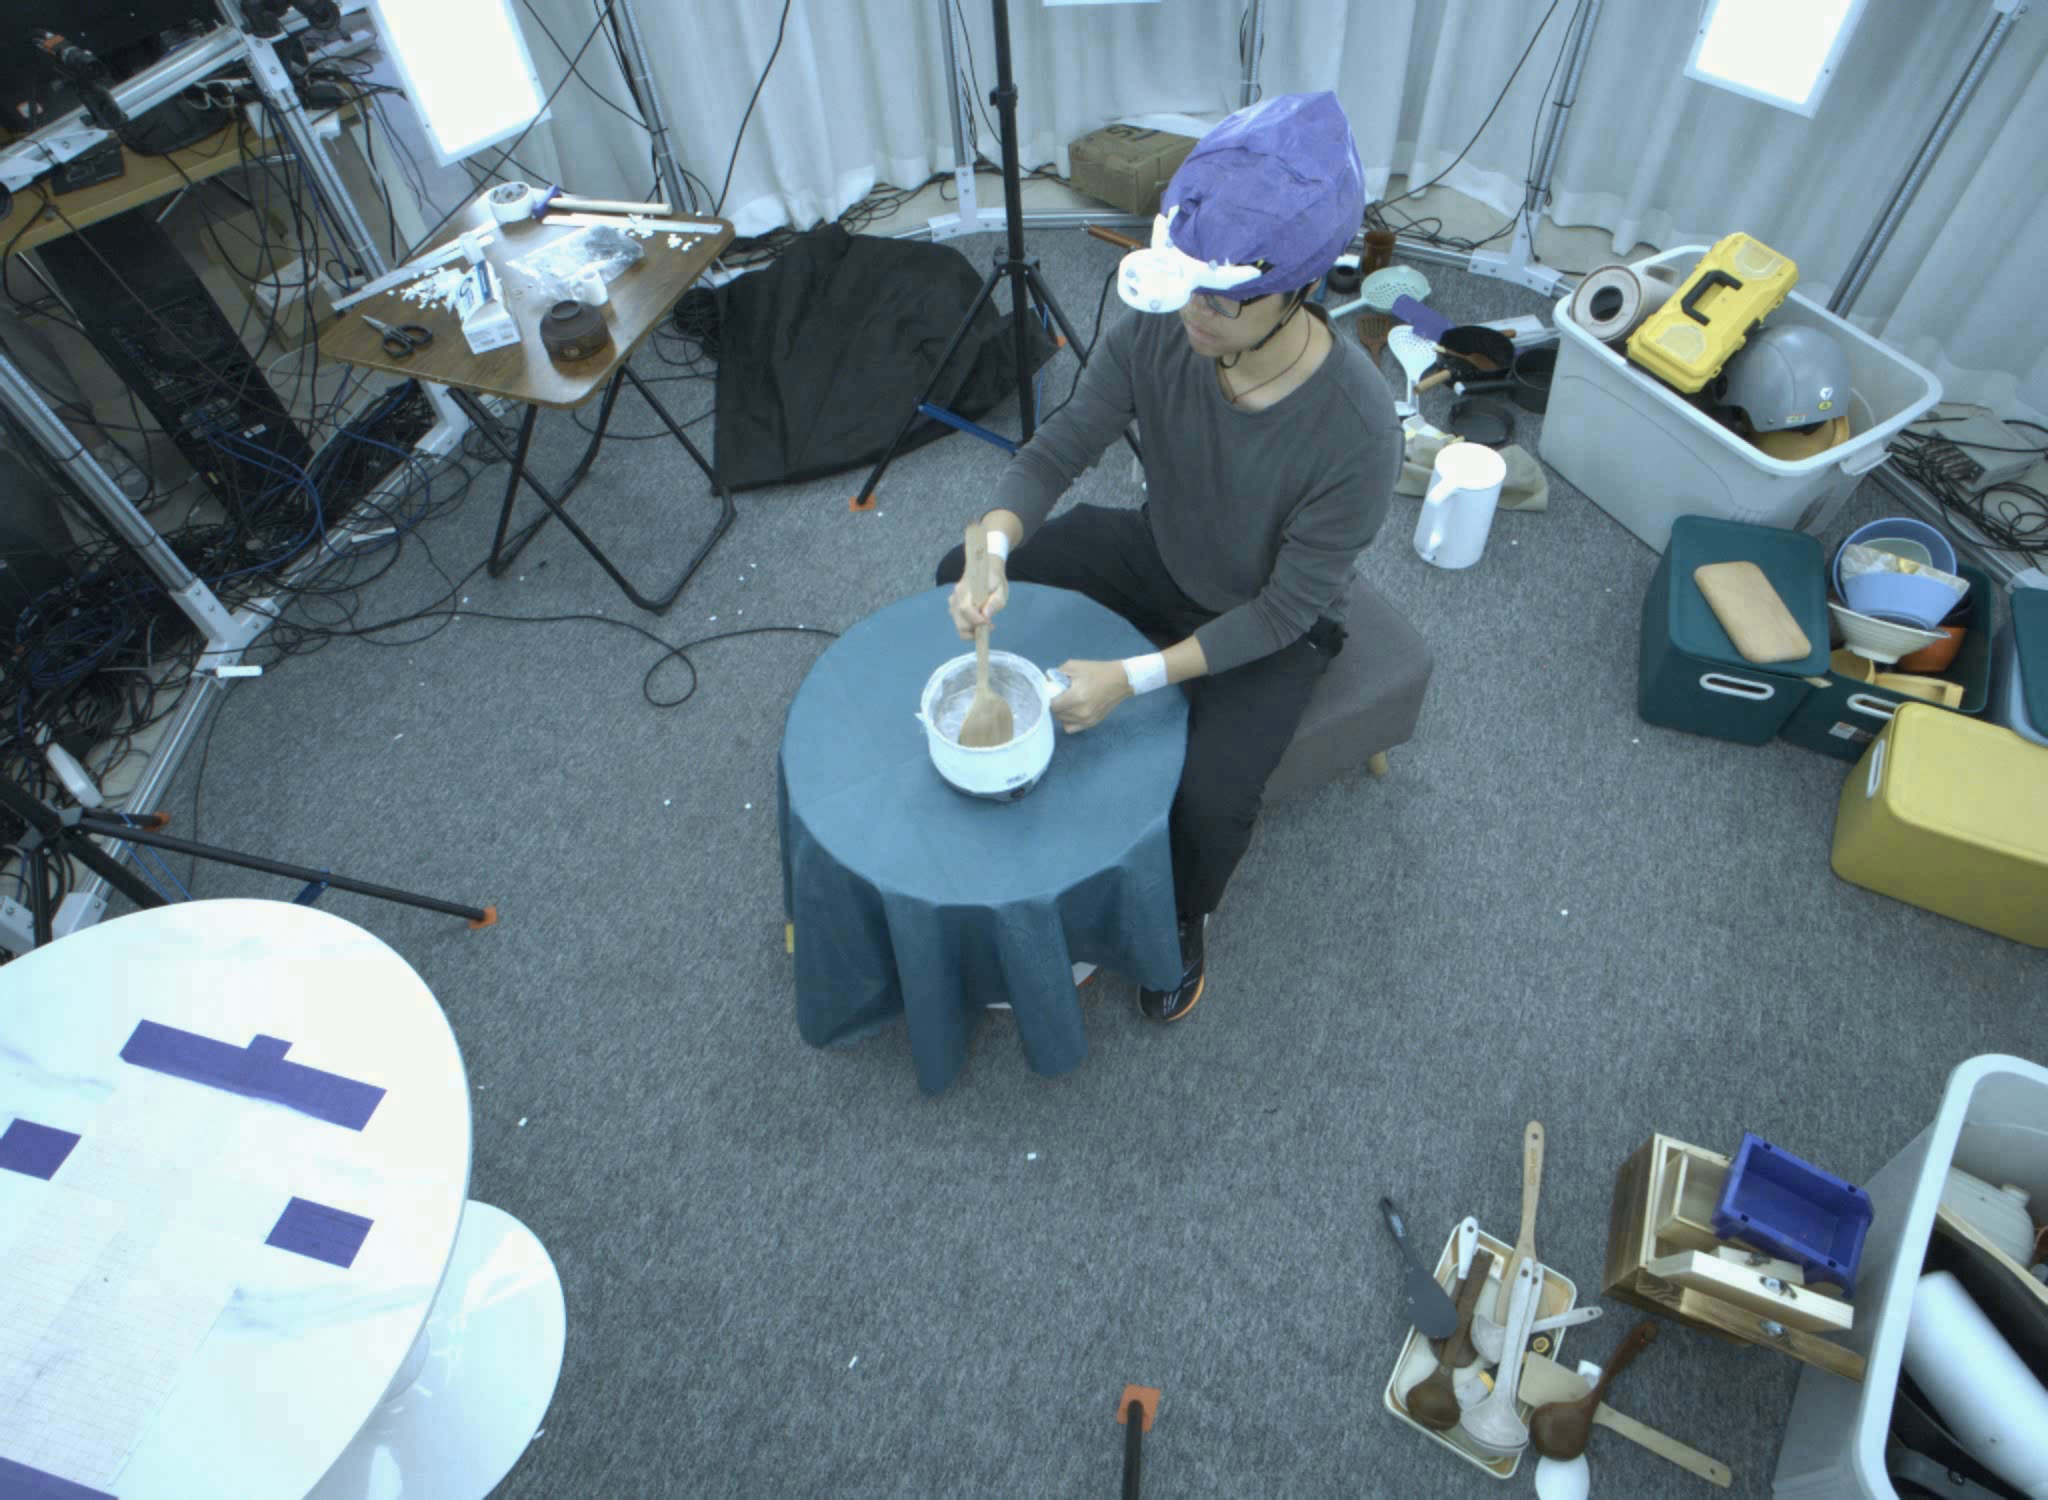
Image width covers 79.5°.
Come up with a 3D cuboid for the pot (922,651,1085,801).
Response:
[{"bbox_3d":[-0.023,-0.043,1.742,0.235,0.138,0.175,-23,57,-14],"label":"pot"}]

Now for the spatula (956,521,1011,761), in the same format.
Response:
[{"bbox_3d":[-0.059,-0.130,1.587,0.097,0.394,0.018,-34,55,-28],"label":"spatula"}]
